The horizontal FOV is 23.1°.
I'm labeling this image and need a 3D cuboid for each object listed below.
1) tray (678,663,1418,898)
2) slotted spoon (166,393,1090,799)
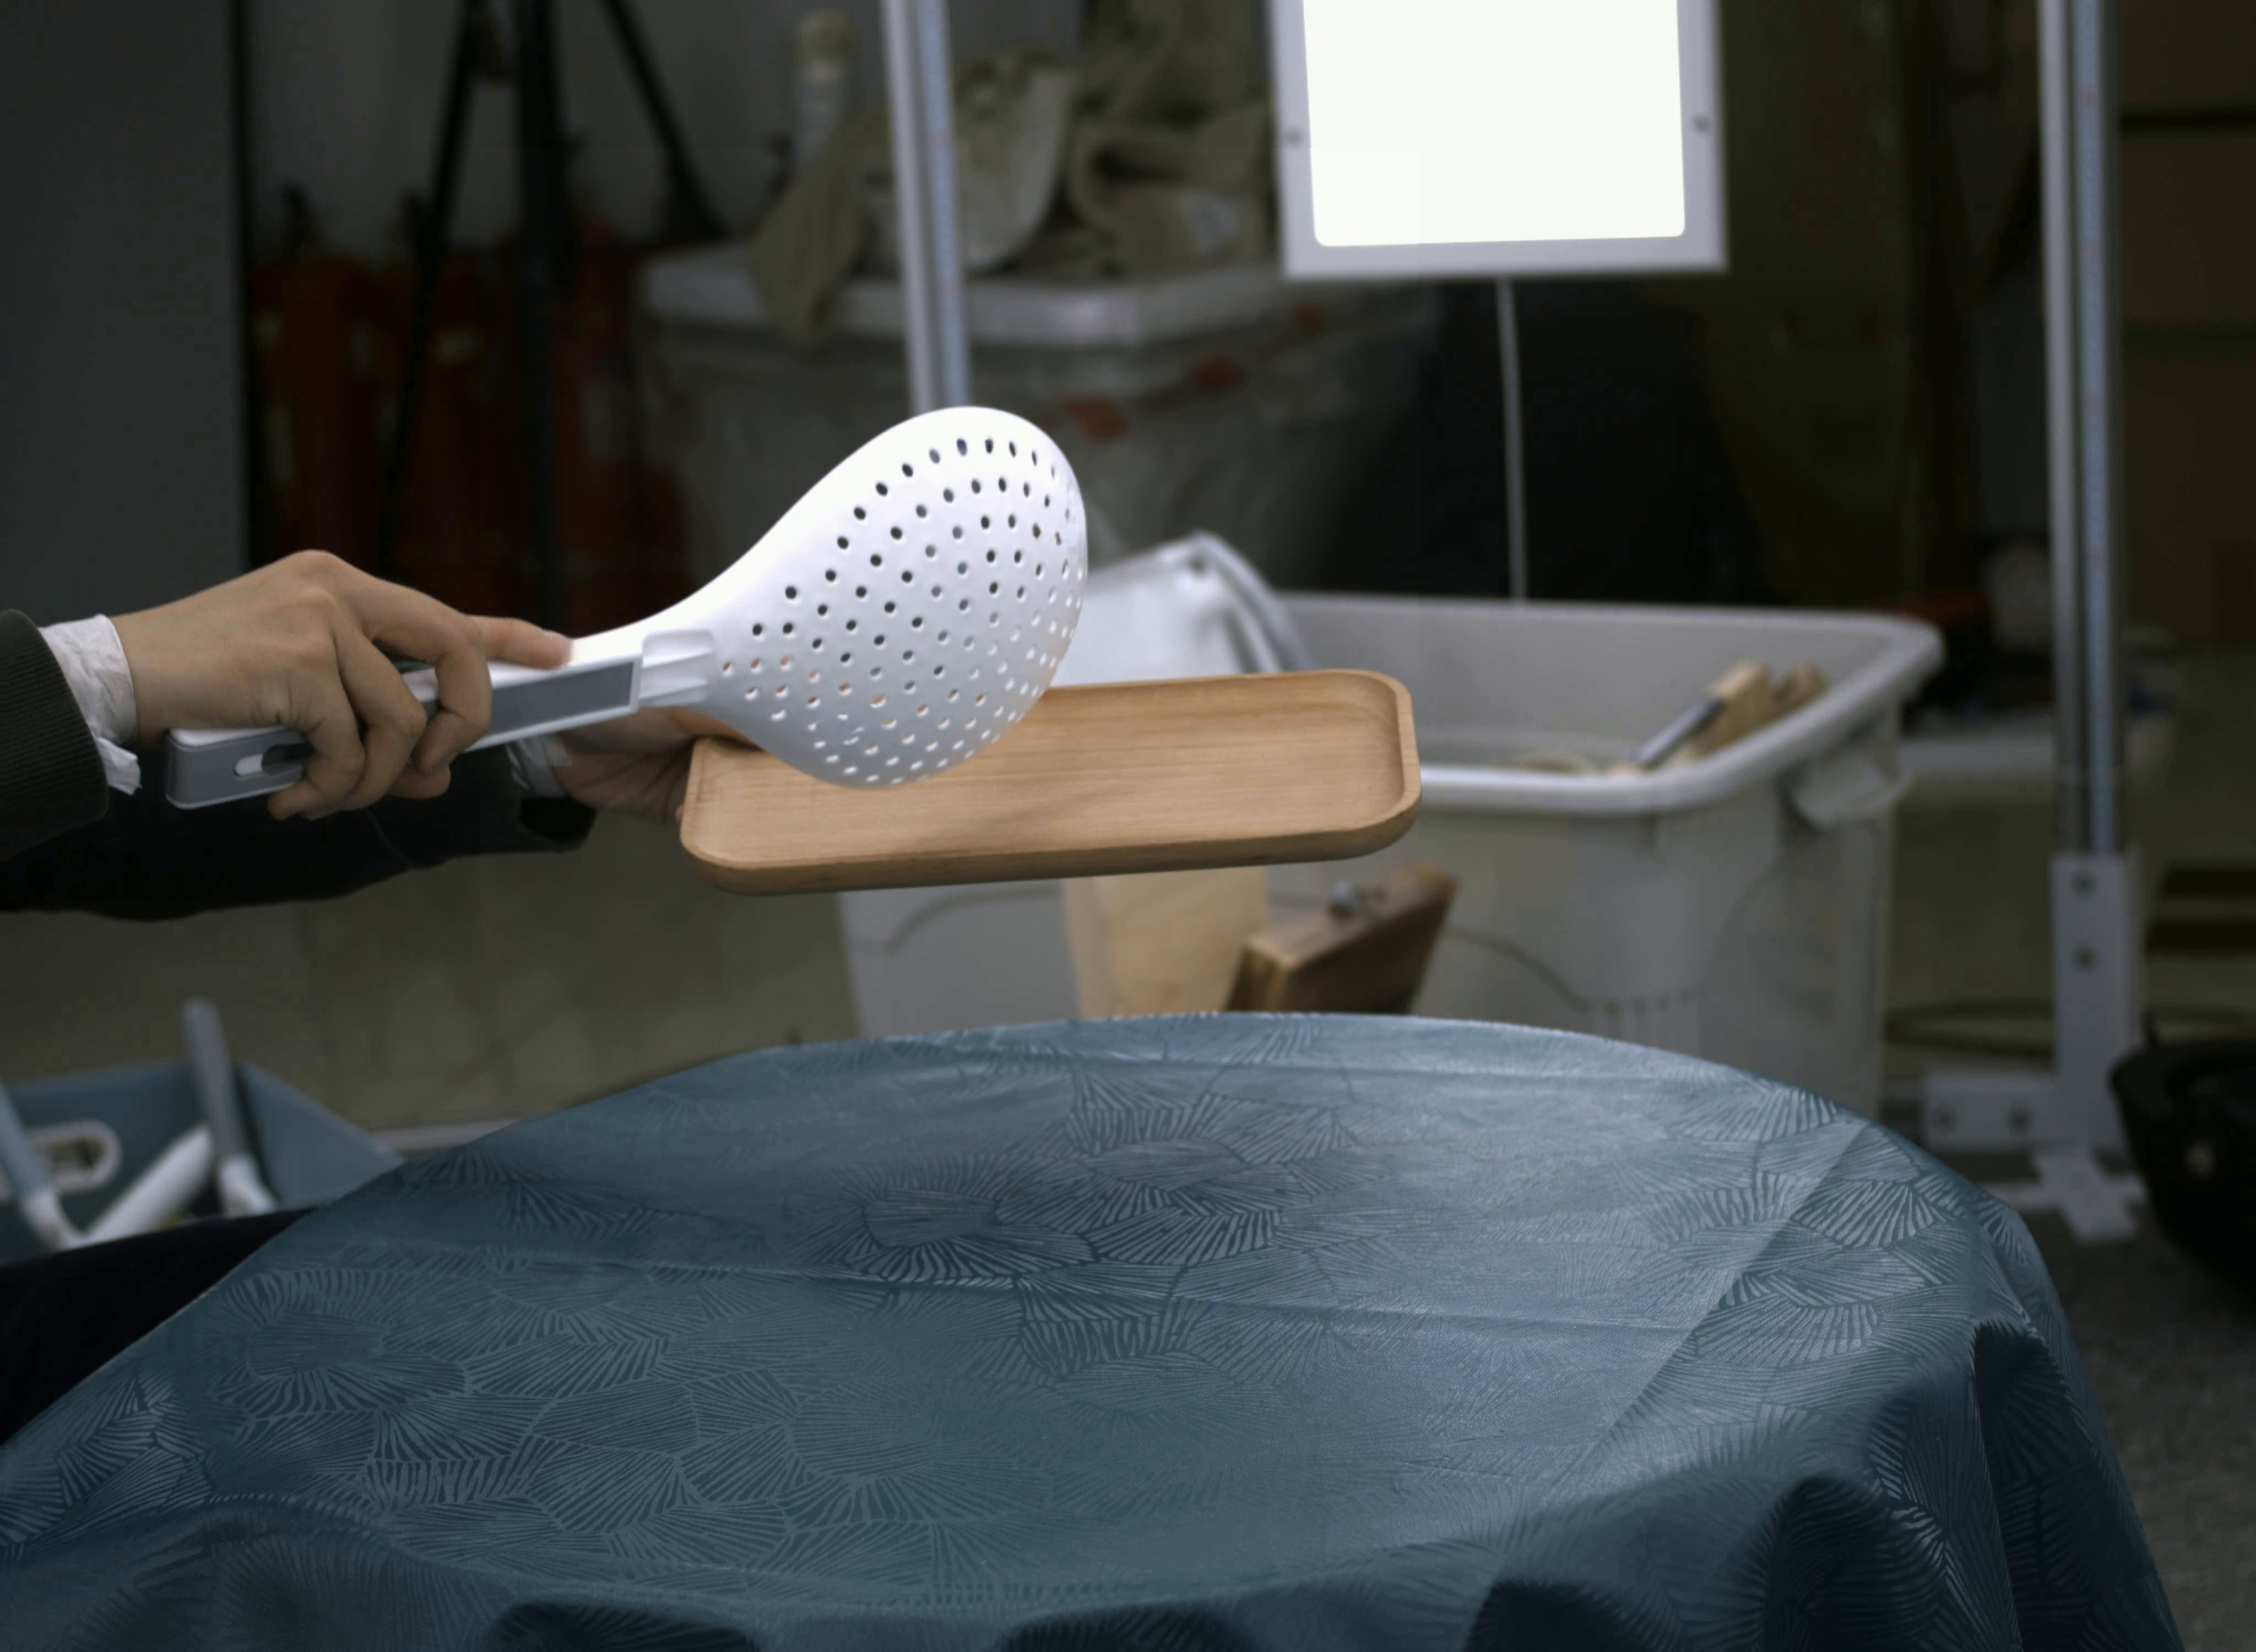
[{"bbox_3d":[-0.027,-0.015,1.878,0.251,0.023,0.130,-4,25,5],"label":"tray"},{"bbox_3d":[-0.147,-0.054,1.739,0.341,0.137,0.046,-11,30,-31],"label":"slotted spoon"}]
